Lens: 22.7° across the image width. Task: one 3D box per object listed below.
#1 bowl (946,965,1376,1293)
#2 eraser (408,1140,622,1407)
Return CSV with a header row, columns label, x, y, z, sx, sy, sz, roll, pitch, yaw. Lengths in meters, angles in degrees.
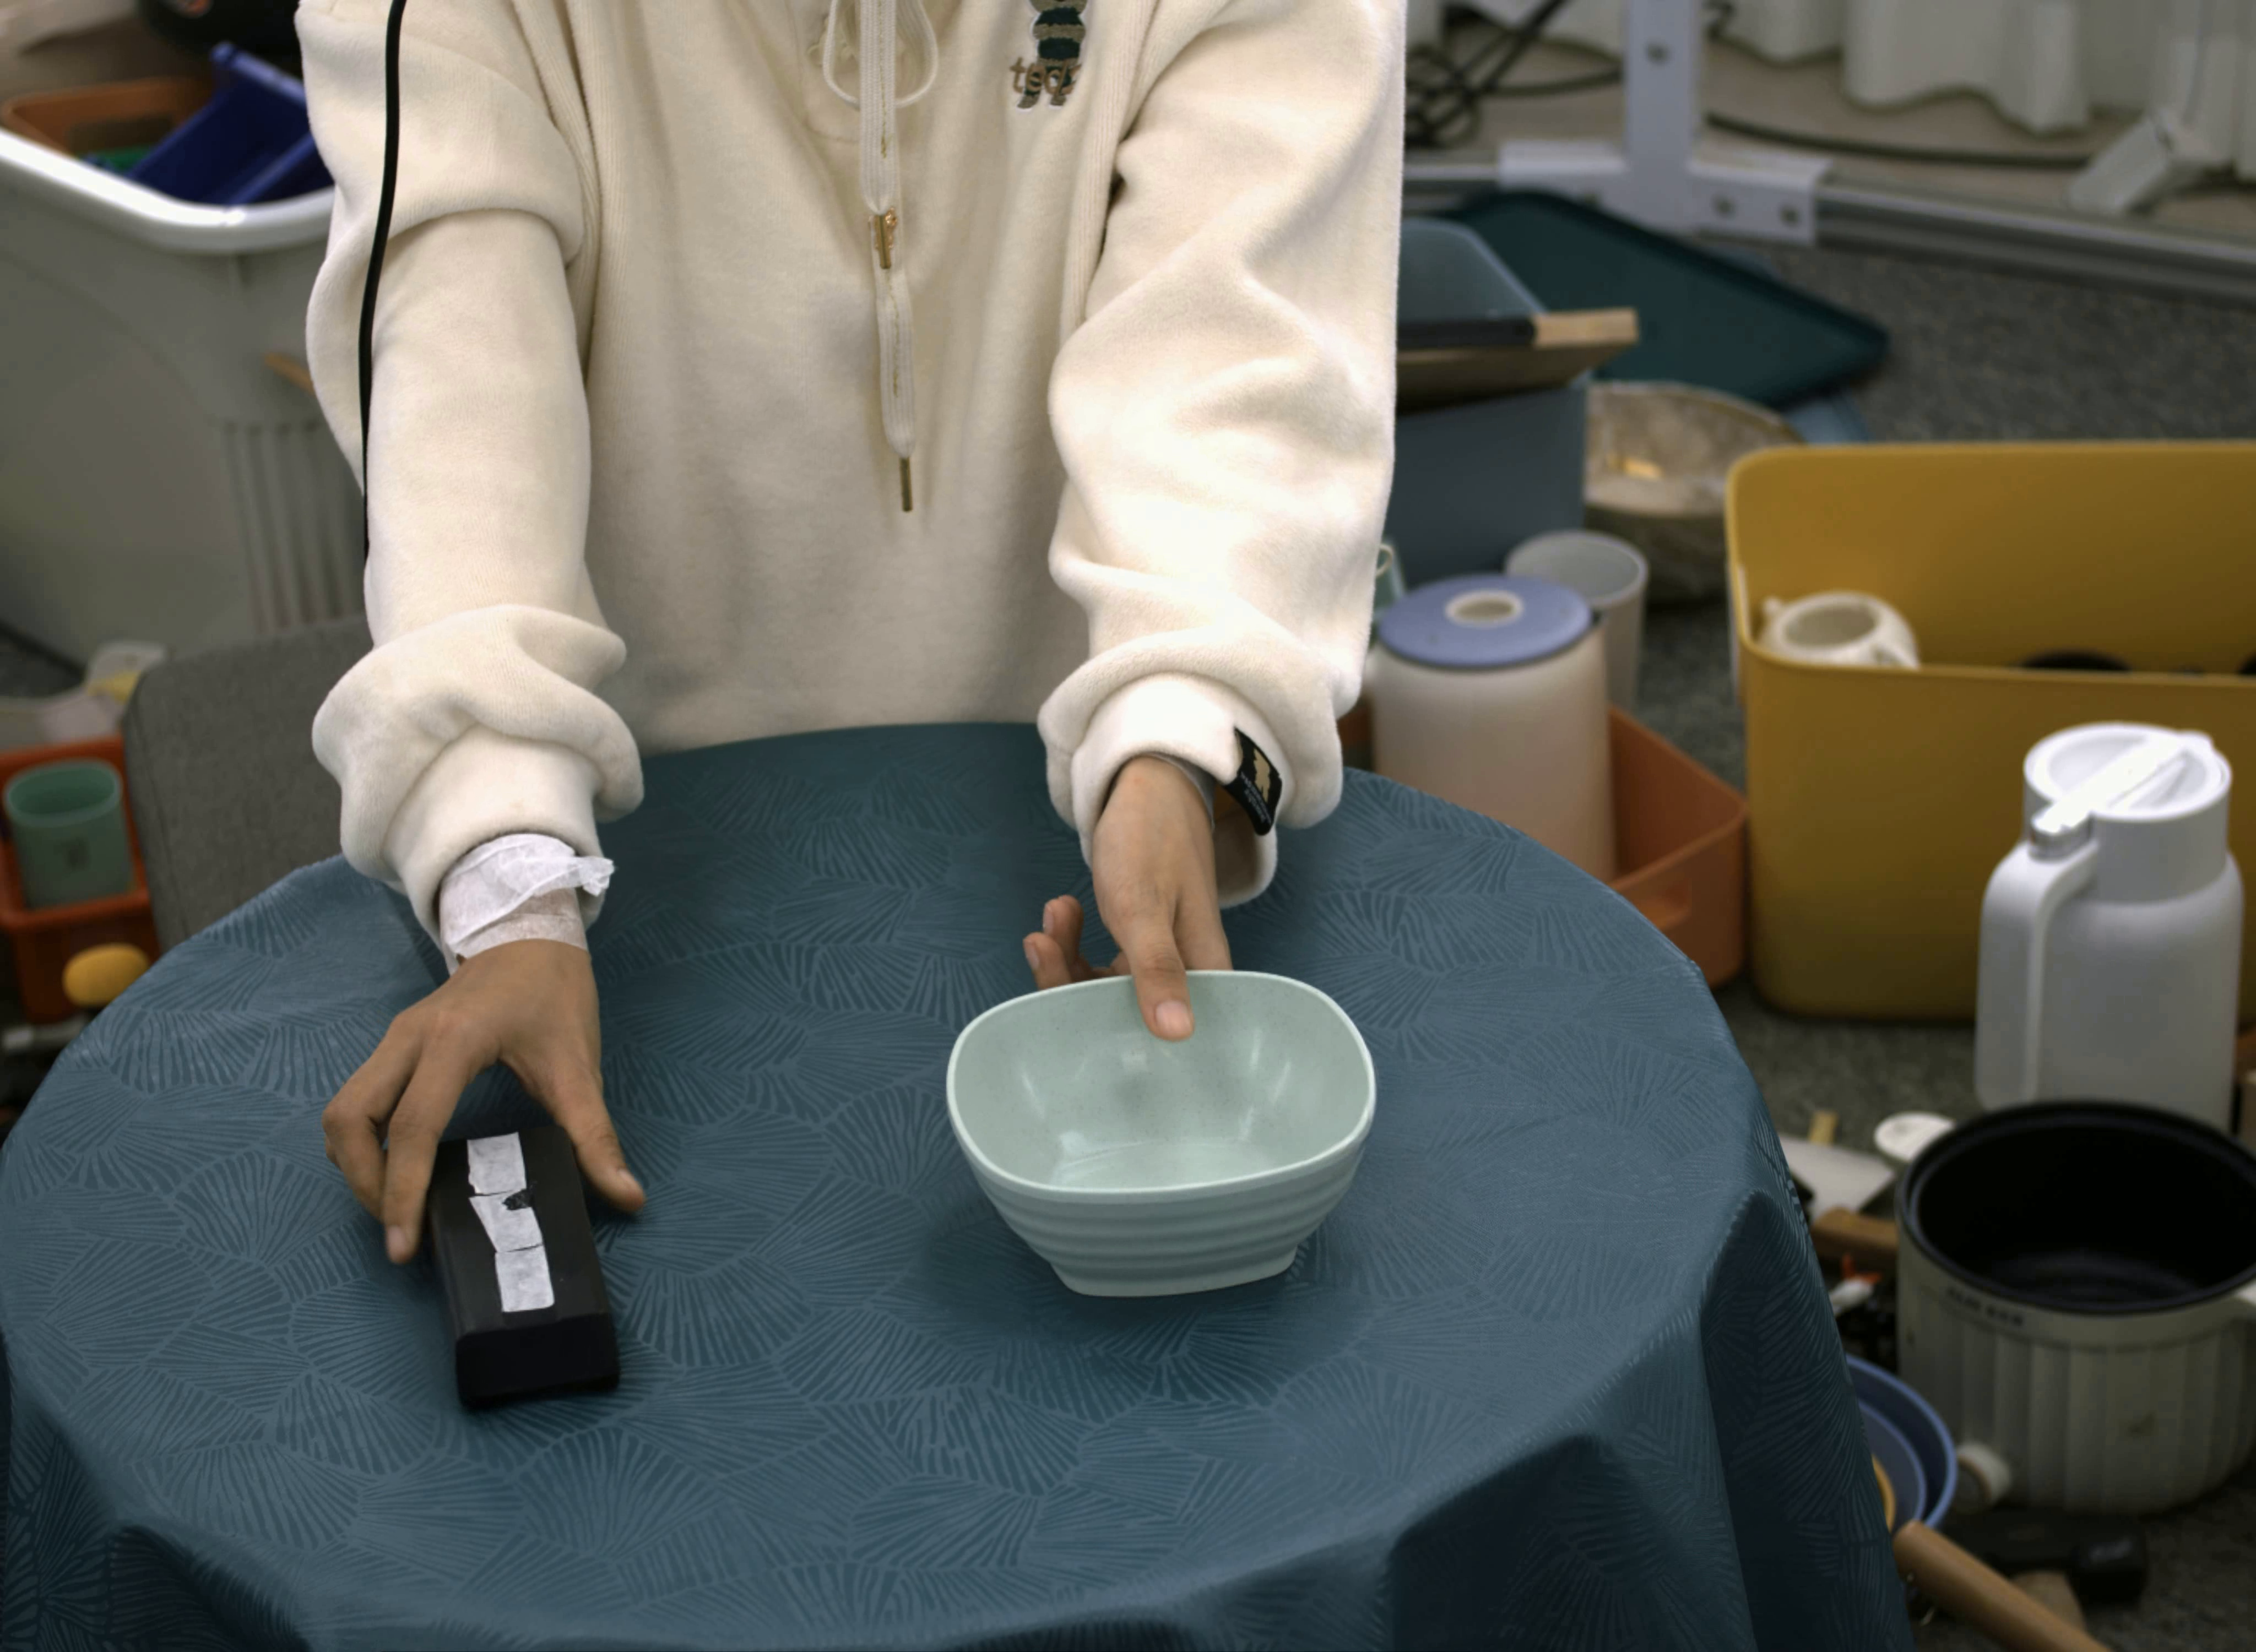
label,x,y,z,sx,sy,sz,roll,pitch,yaw
bowl,0.011,0.105,1.830,0.151,0.058,0.154,1,28,0
eraser,-0.198,0.144,1.810,0.053,0.030,0.127,-7,25,-11
